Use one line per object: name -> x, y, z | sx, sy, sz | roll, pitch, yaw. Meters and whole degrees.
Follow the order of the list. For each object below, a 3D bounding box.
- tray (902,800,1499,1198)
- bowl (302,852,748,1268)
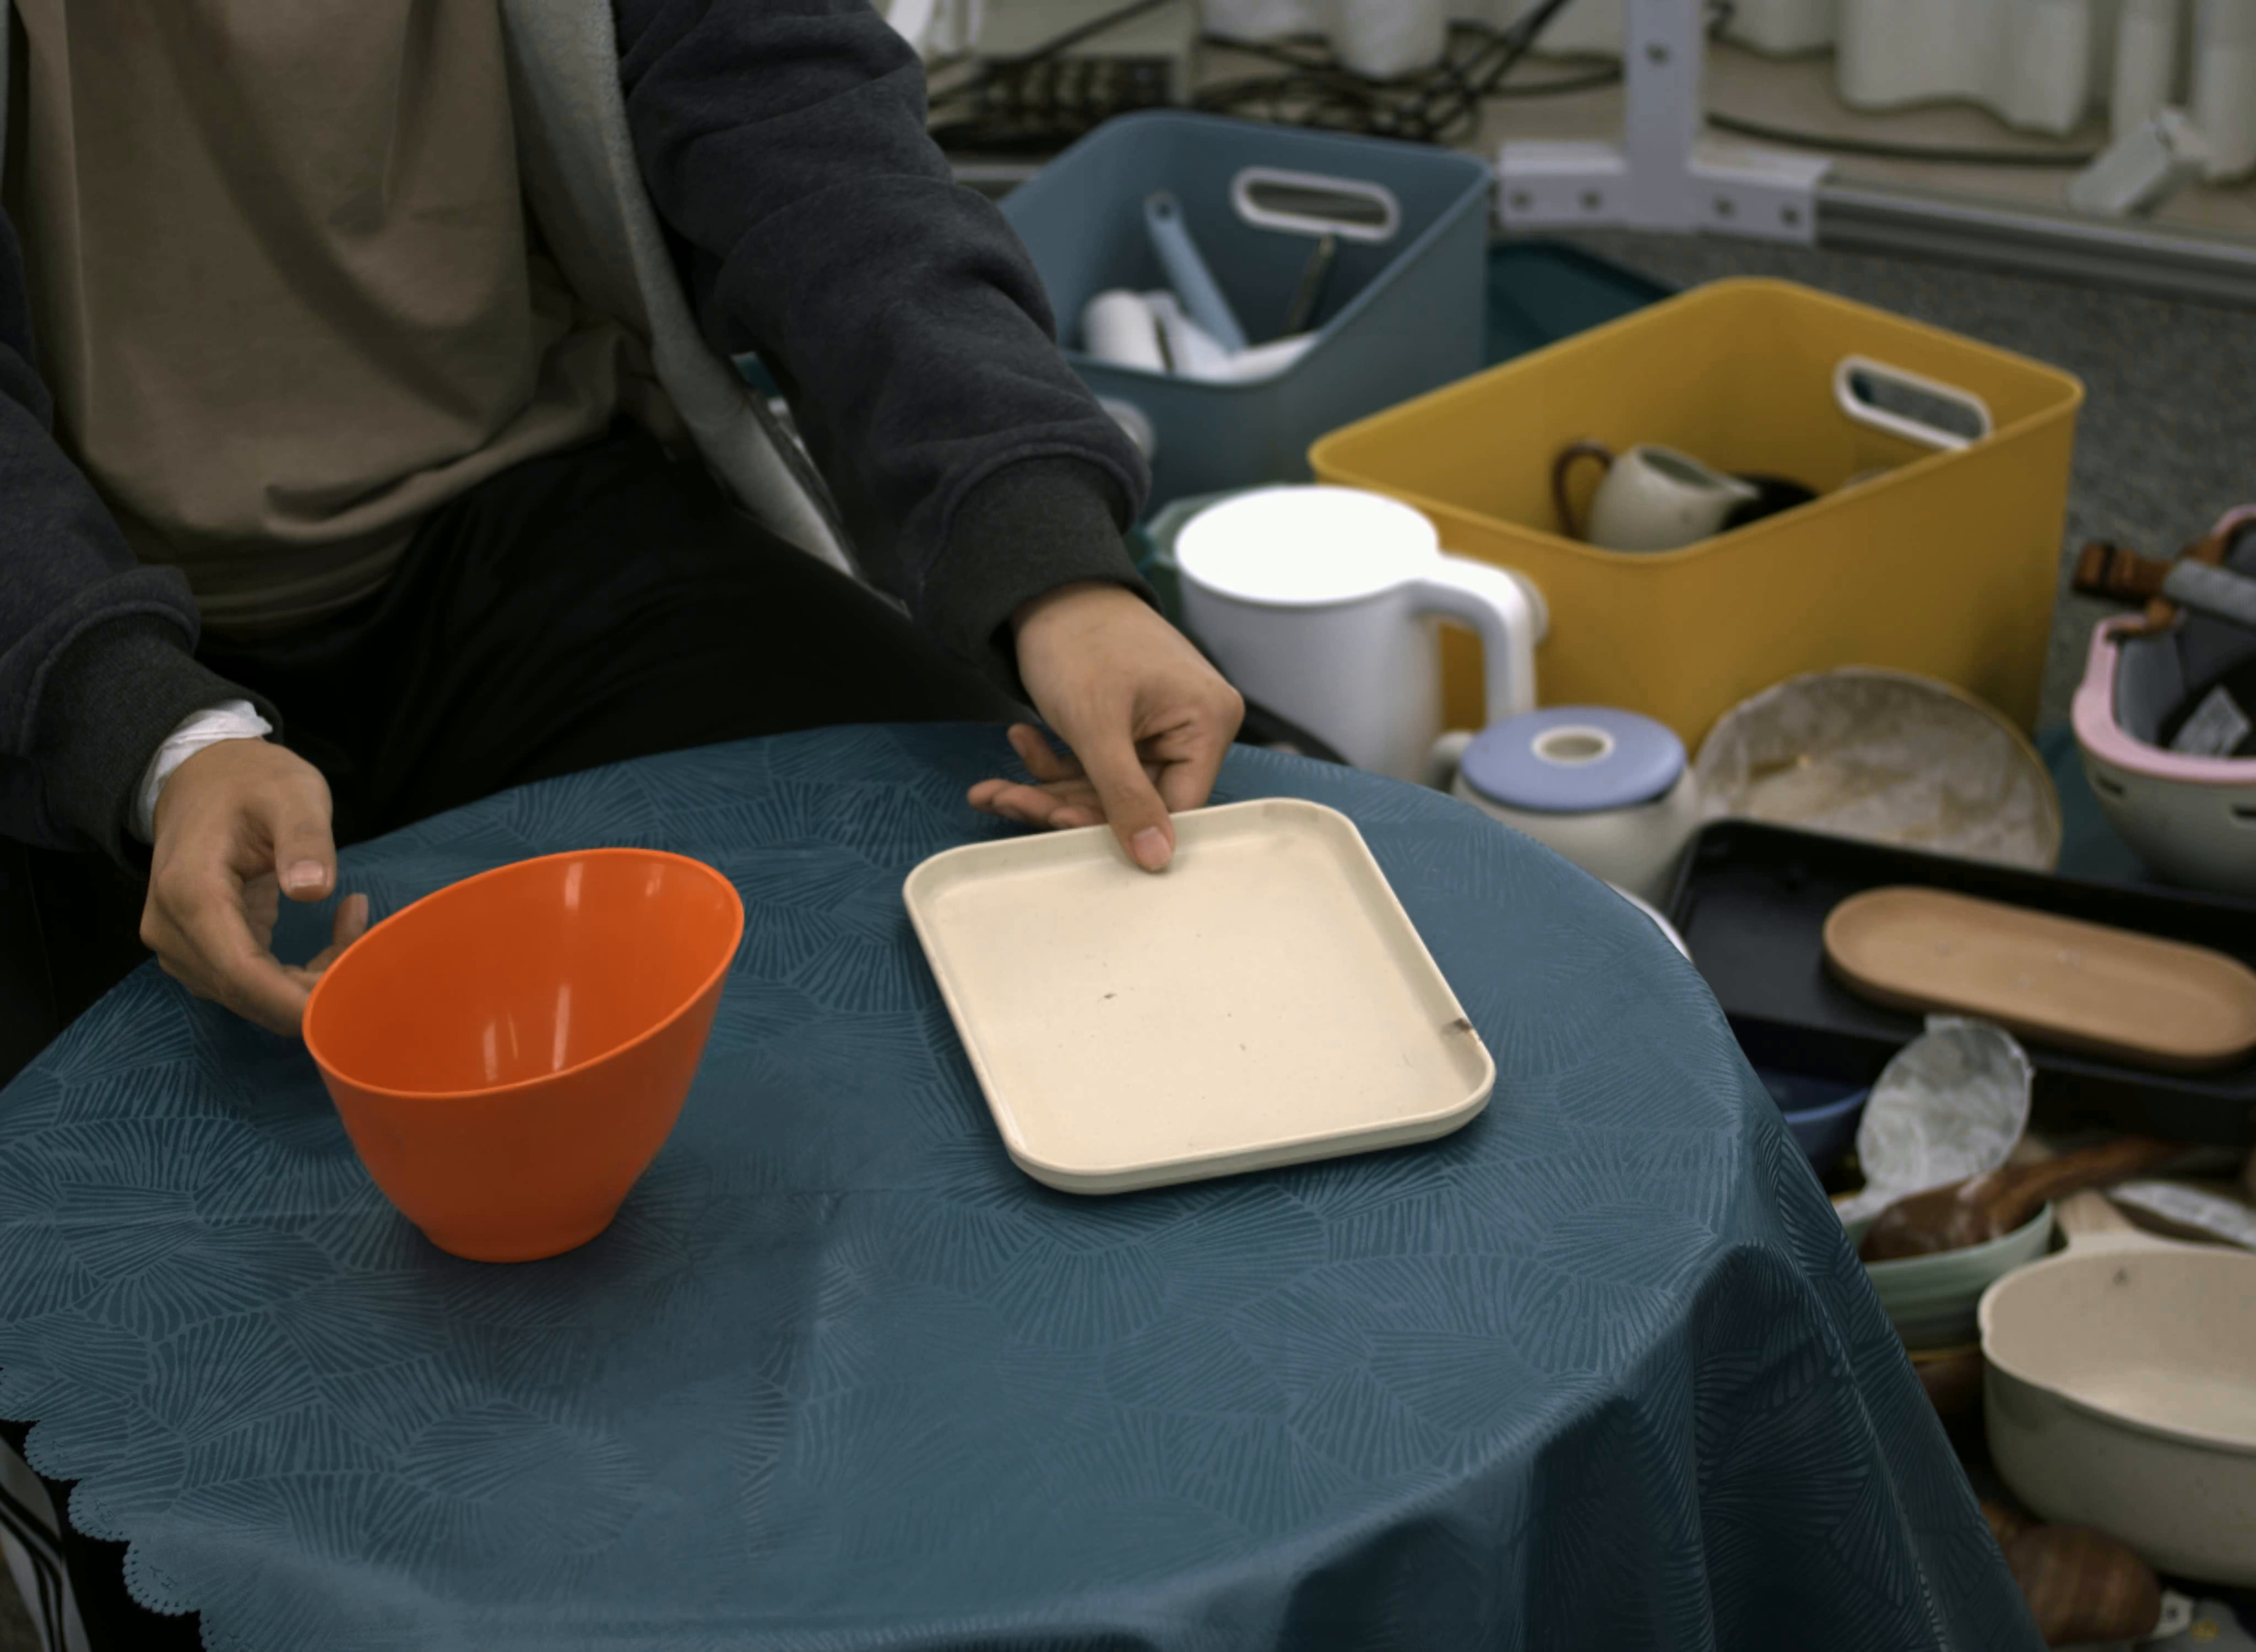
tray -> 0.022, 0.059, 1.962 | 0.171, 0.017, 0.242 | -9, 28, -10
bowl -> -0.195, 0.084, 1.846 | 0.147, 0.103, 0.150 | -2, 28, 1
